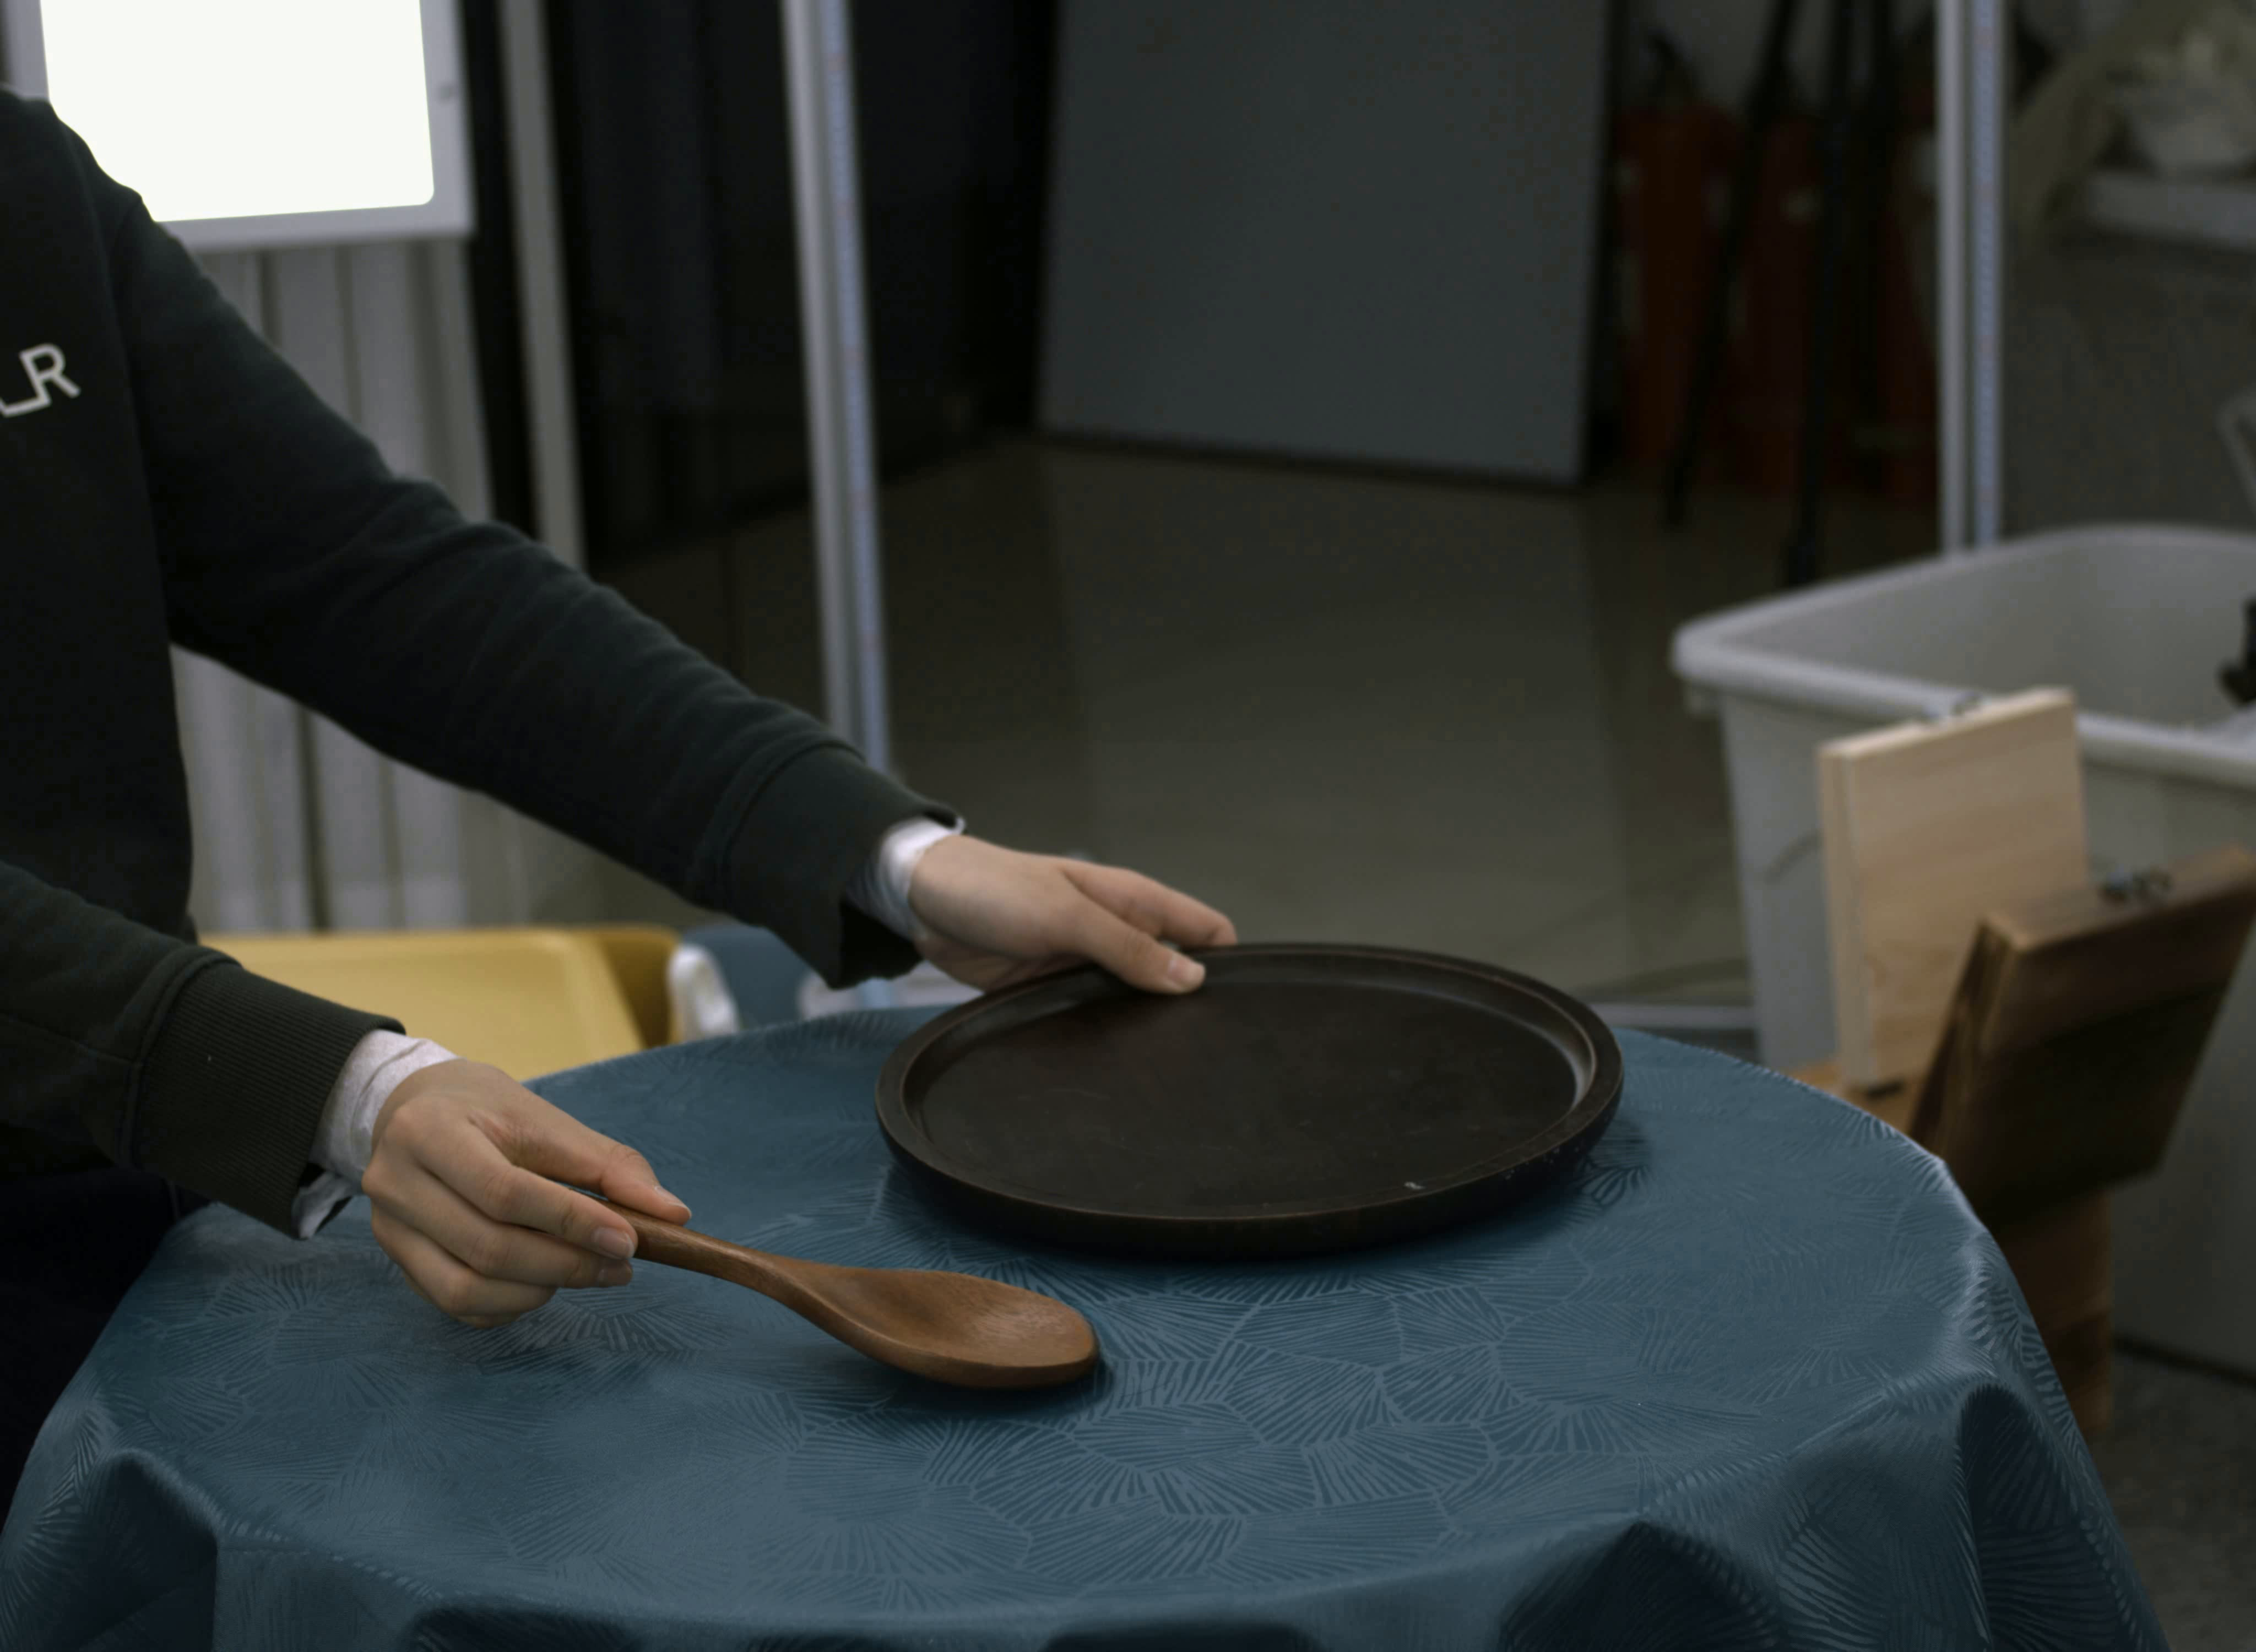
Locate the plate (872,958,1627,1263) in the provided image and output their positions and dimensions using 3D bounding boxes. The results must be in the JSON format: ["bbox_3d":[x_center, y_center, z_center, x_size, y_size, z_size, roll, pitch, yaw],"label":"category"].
[{"bbox_3d":[0.041,0.092,1.797,0.251,0.029,0.255,-3,18,0],"label":"plate"}]

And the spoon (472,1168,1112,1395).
[{"bbox_3d":[-0.104,0.138,1.633,0.216,0.017,0.074,15,17,23],"label":"spoon"}]
